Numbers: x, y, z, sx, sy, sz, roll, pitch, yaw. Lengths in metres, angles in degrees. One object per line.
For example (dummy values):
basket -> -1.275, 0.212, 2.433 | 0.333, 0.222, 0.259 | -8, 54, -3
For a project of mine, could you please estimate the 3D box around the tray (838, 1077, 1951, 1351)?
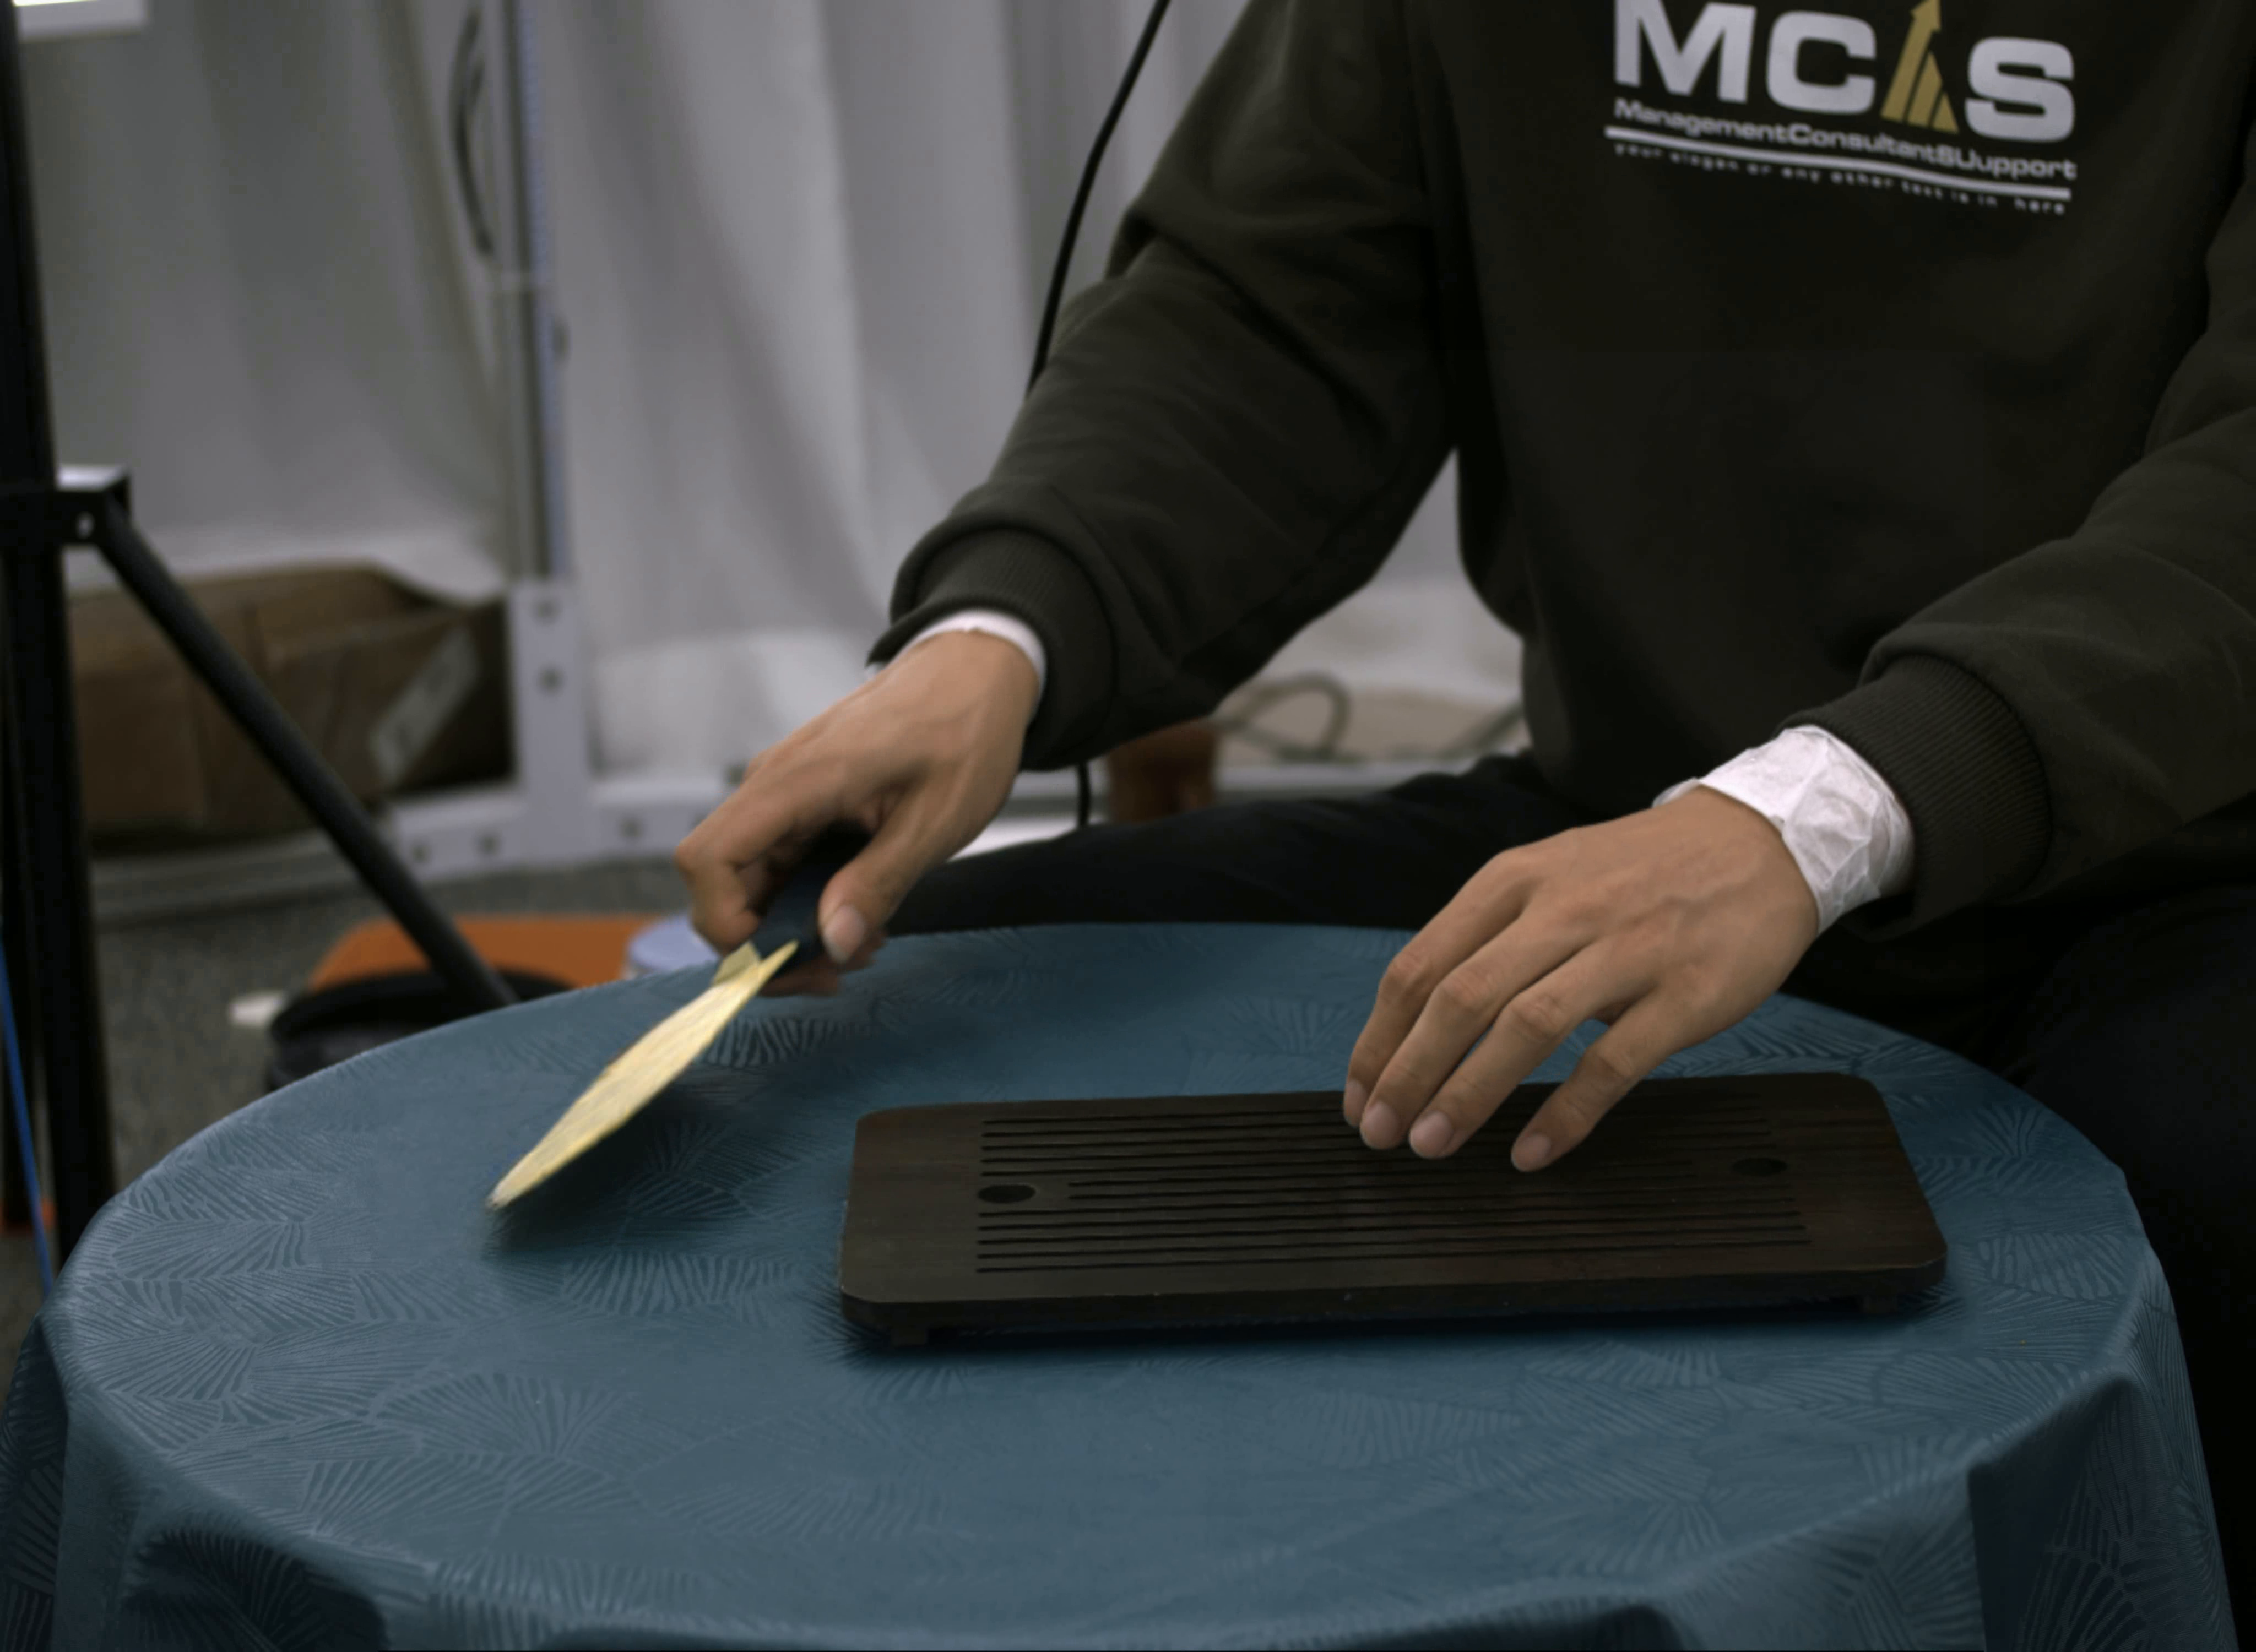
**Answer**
tray -> 0.072, 0.110, 1.509 | 0.305, 0.018, 0.170 | -2, 15, 2

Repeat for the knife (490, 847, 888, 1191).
knife -> -0.133, 0.060, 1.661 | 0.082, 0.027, 0.287 | -28, 7, 22
